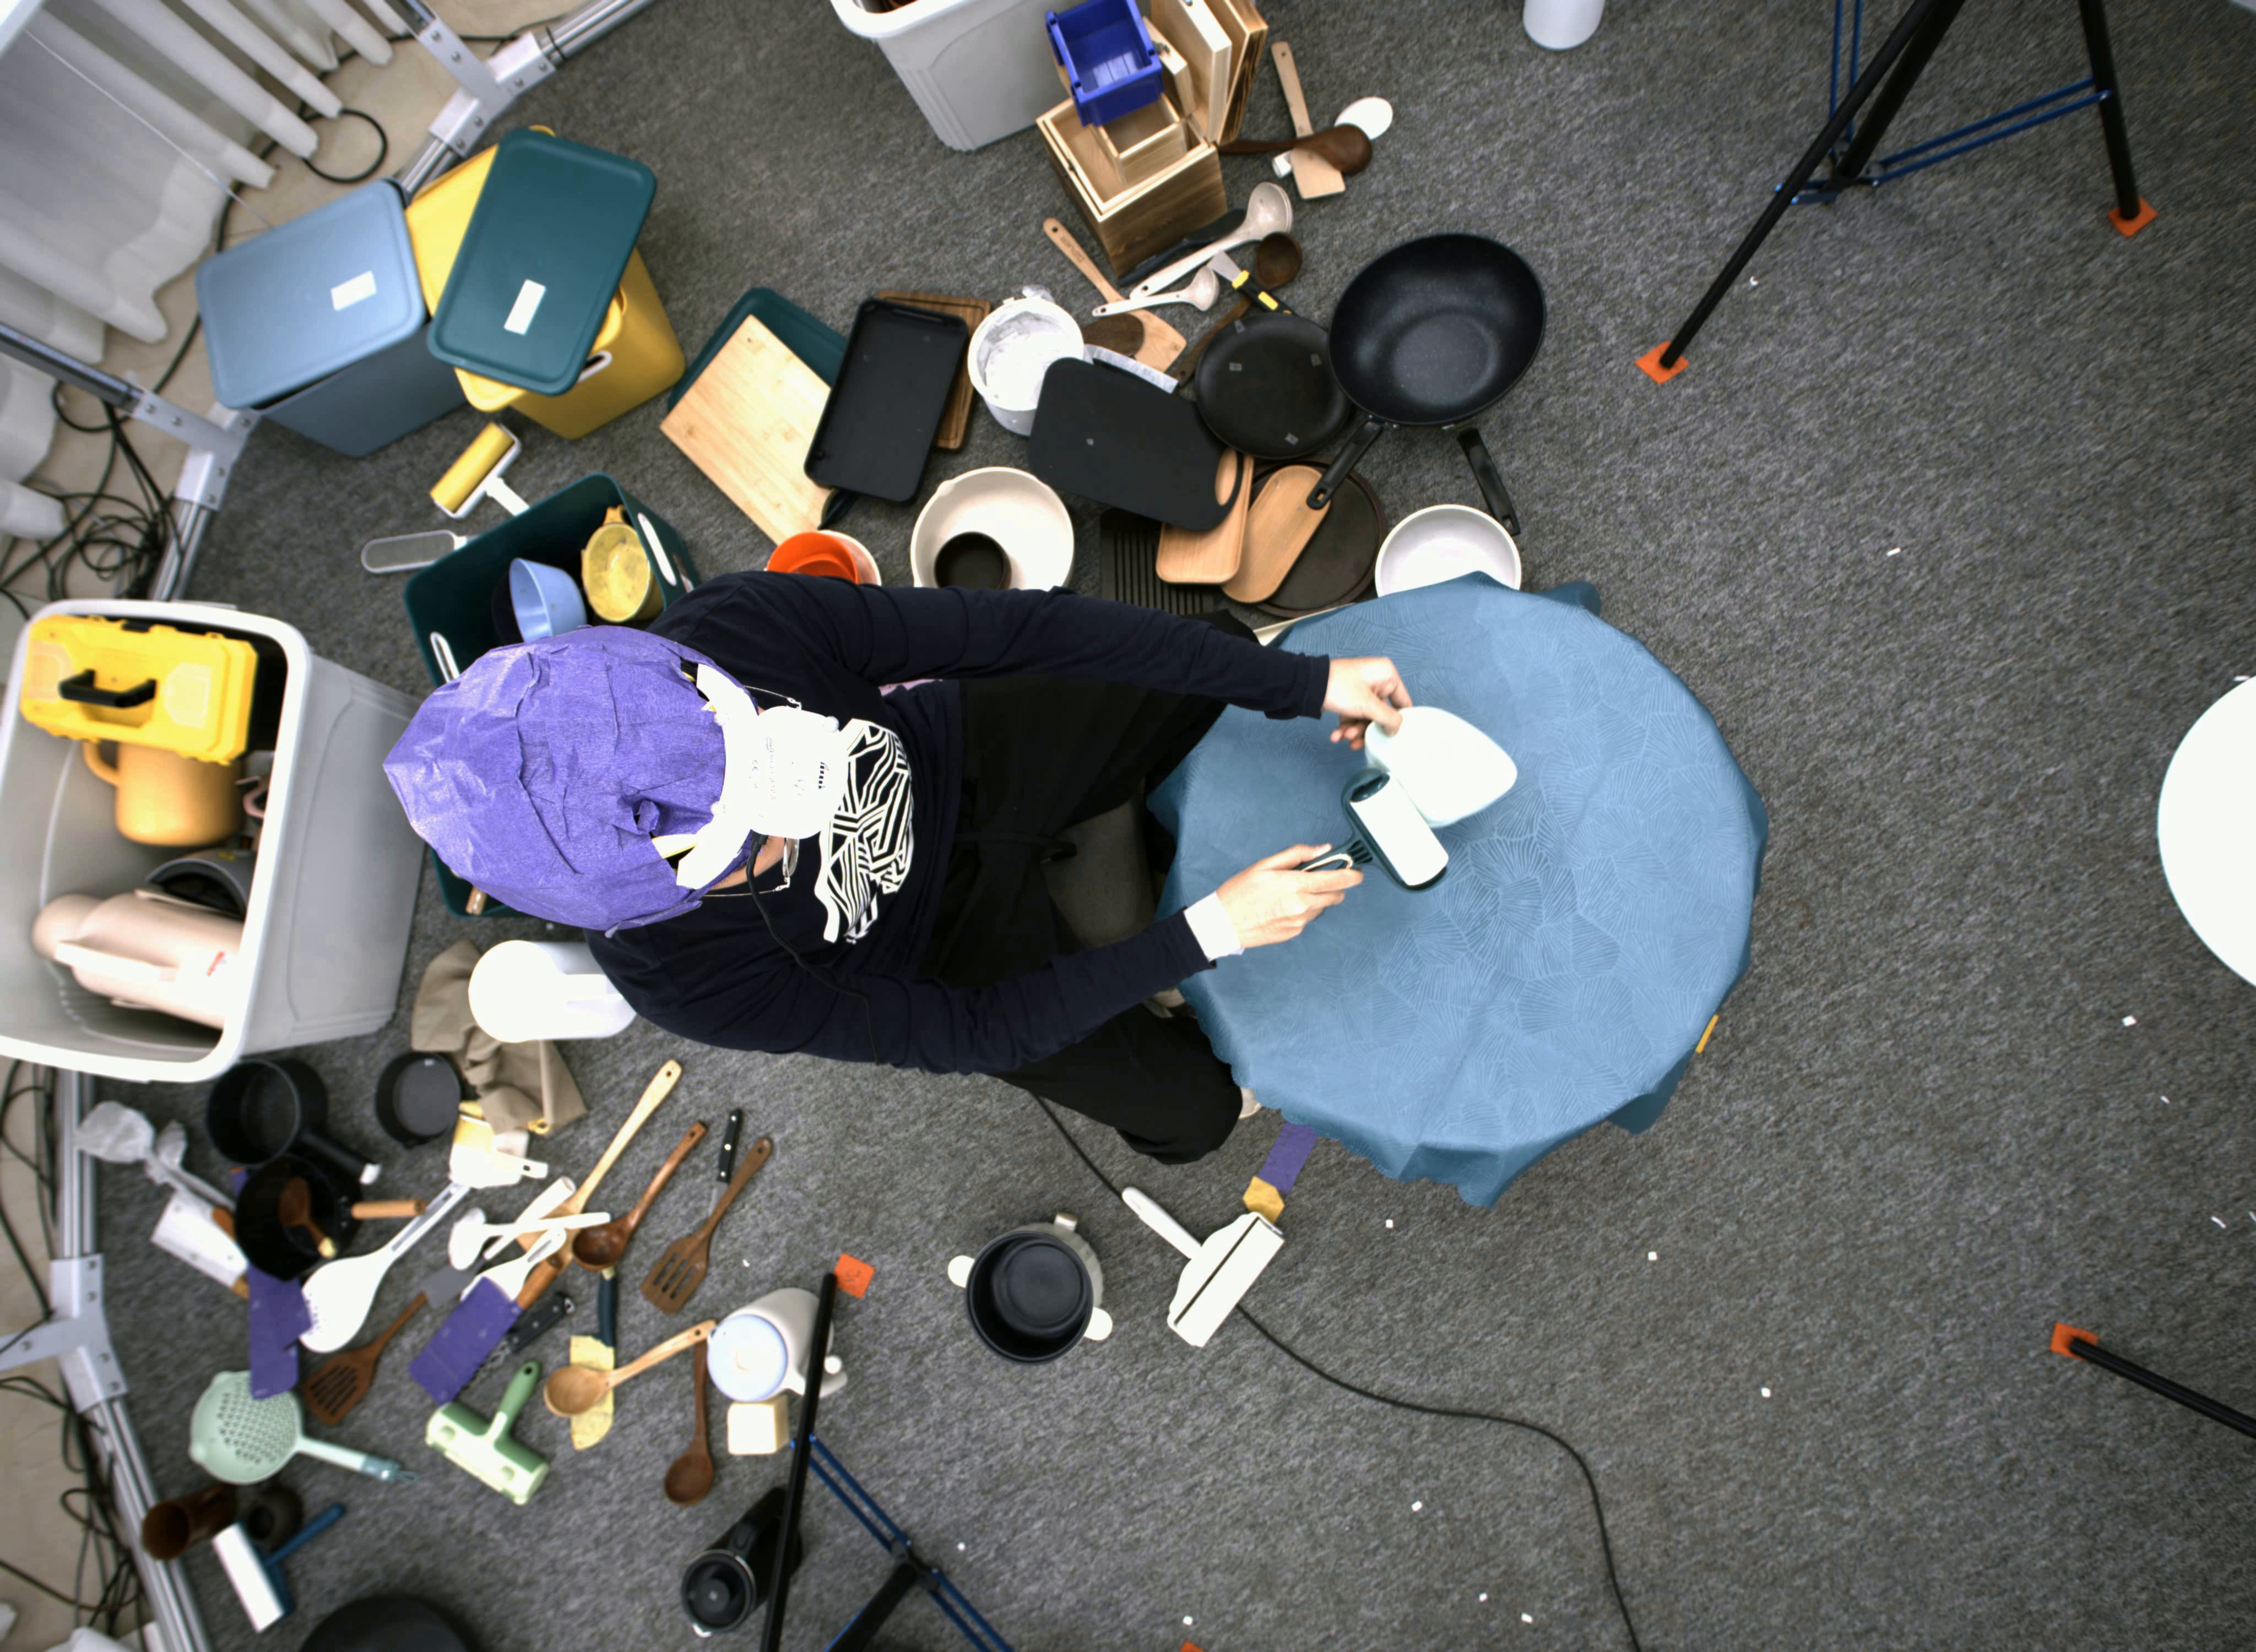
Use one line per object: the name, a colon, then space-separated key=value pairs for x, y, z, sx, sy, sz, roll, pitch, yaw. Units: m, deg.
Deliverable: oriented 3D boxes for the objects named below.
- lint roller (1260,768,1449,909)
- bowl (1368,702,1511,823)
lint roller: x=0.199 y=0.035 z=1.305 sx=0.182 sy=0.047 sz=0.135 roll=-33 pitch=106 yaw=21
bowl: x=0.290 y=-0.054 z=1.328 sx=0.151 sy=0.148 sz=0.060 roll=38 pitch=128 yaw=11
